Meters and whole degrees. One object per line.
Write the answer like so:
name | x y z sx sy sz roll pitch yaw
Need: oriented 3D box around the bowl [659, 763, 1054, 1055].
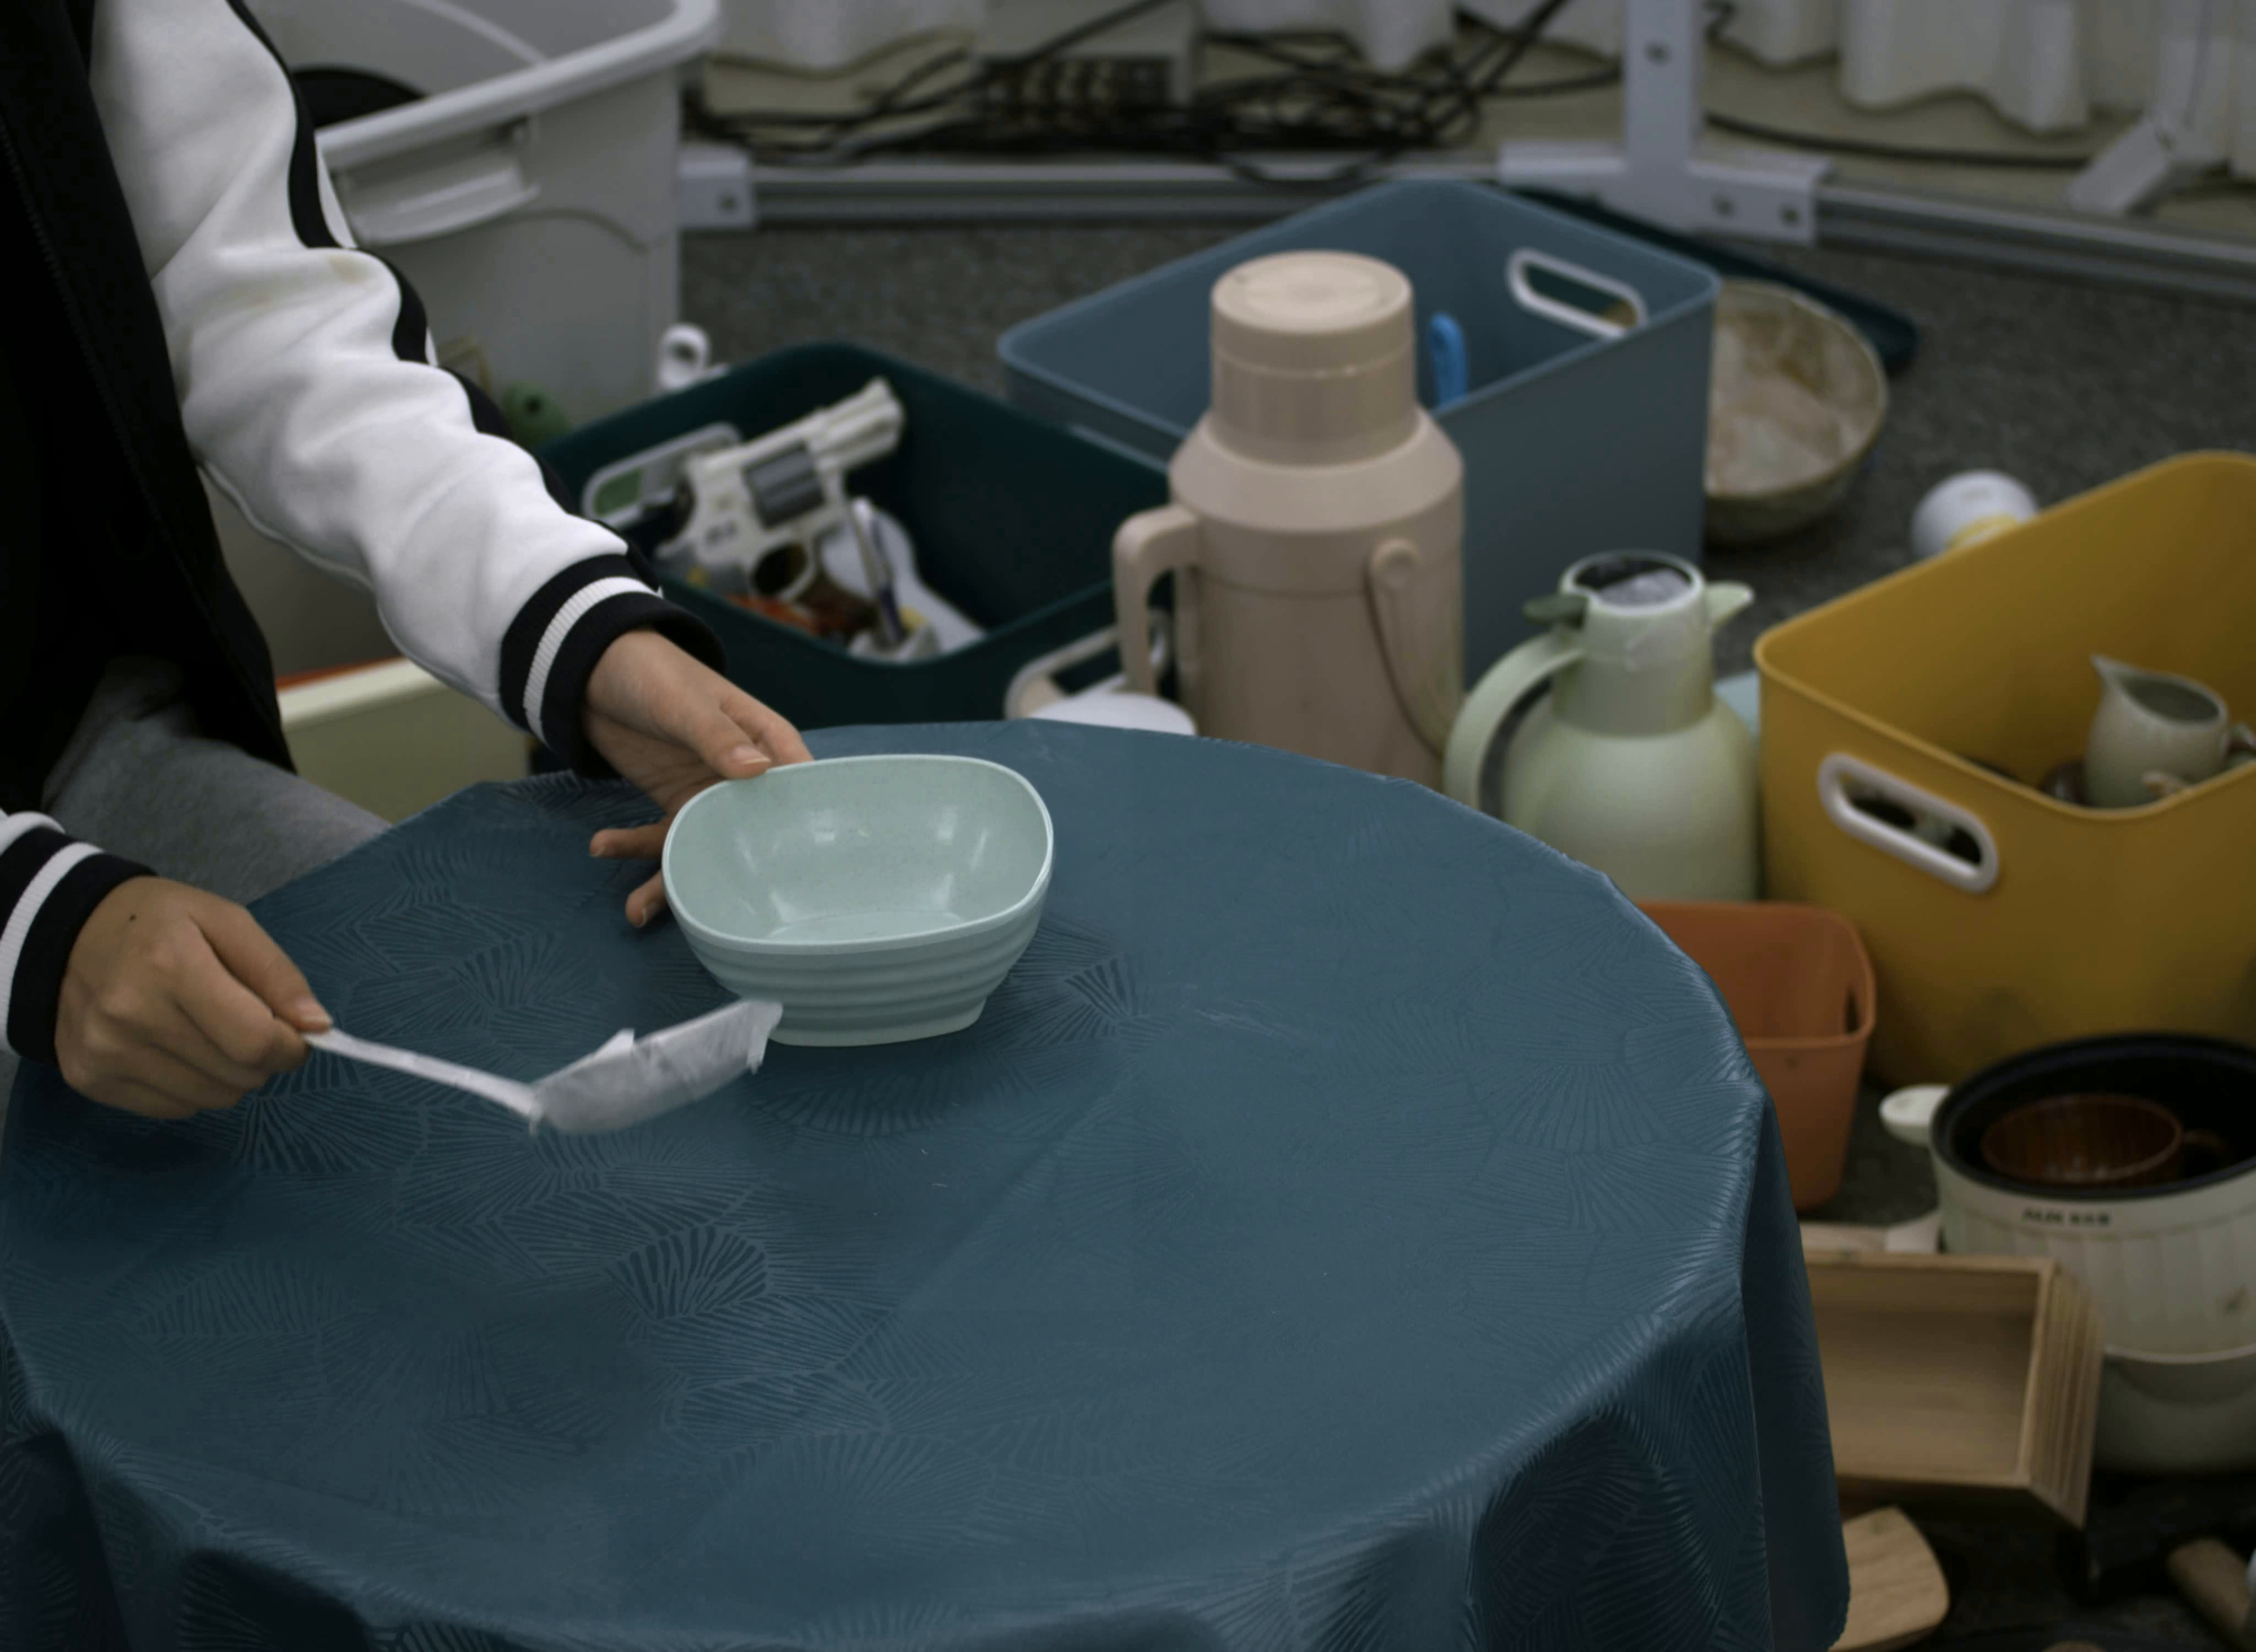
bowl | -0.094 0.035 1.982 0.151 0.058 0.154 -2 27 1

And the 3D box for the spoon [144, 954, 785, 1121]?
spoon | -0.226 0.051 1.854 0.276 0.059 0.101 15 12 38
